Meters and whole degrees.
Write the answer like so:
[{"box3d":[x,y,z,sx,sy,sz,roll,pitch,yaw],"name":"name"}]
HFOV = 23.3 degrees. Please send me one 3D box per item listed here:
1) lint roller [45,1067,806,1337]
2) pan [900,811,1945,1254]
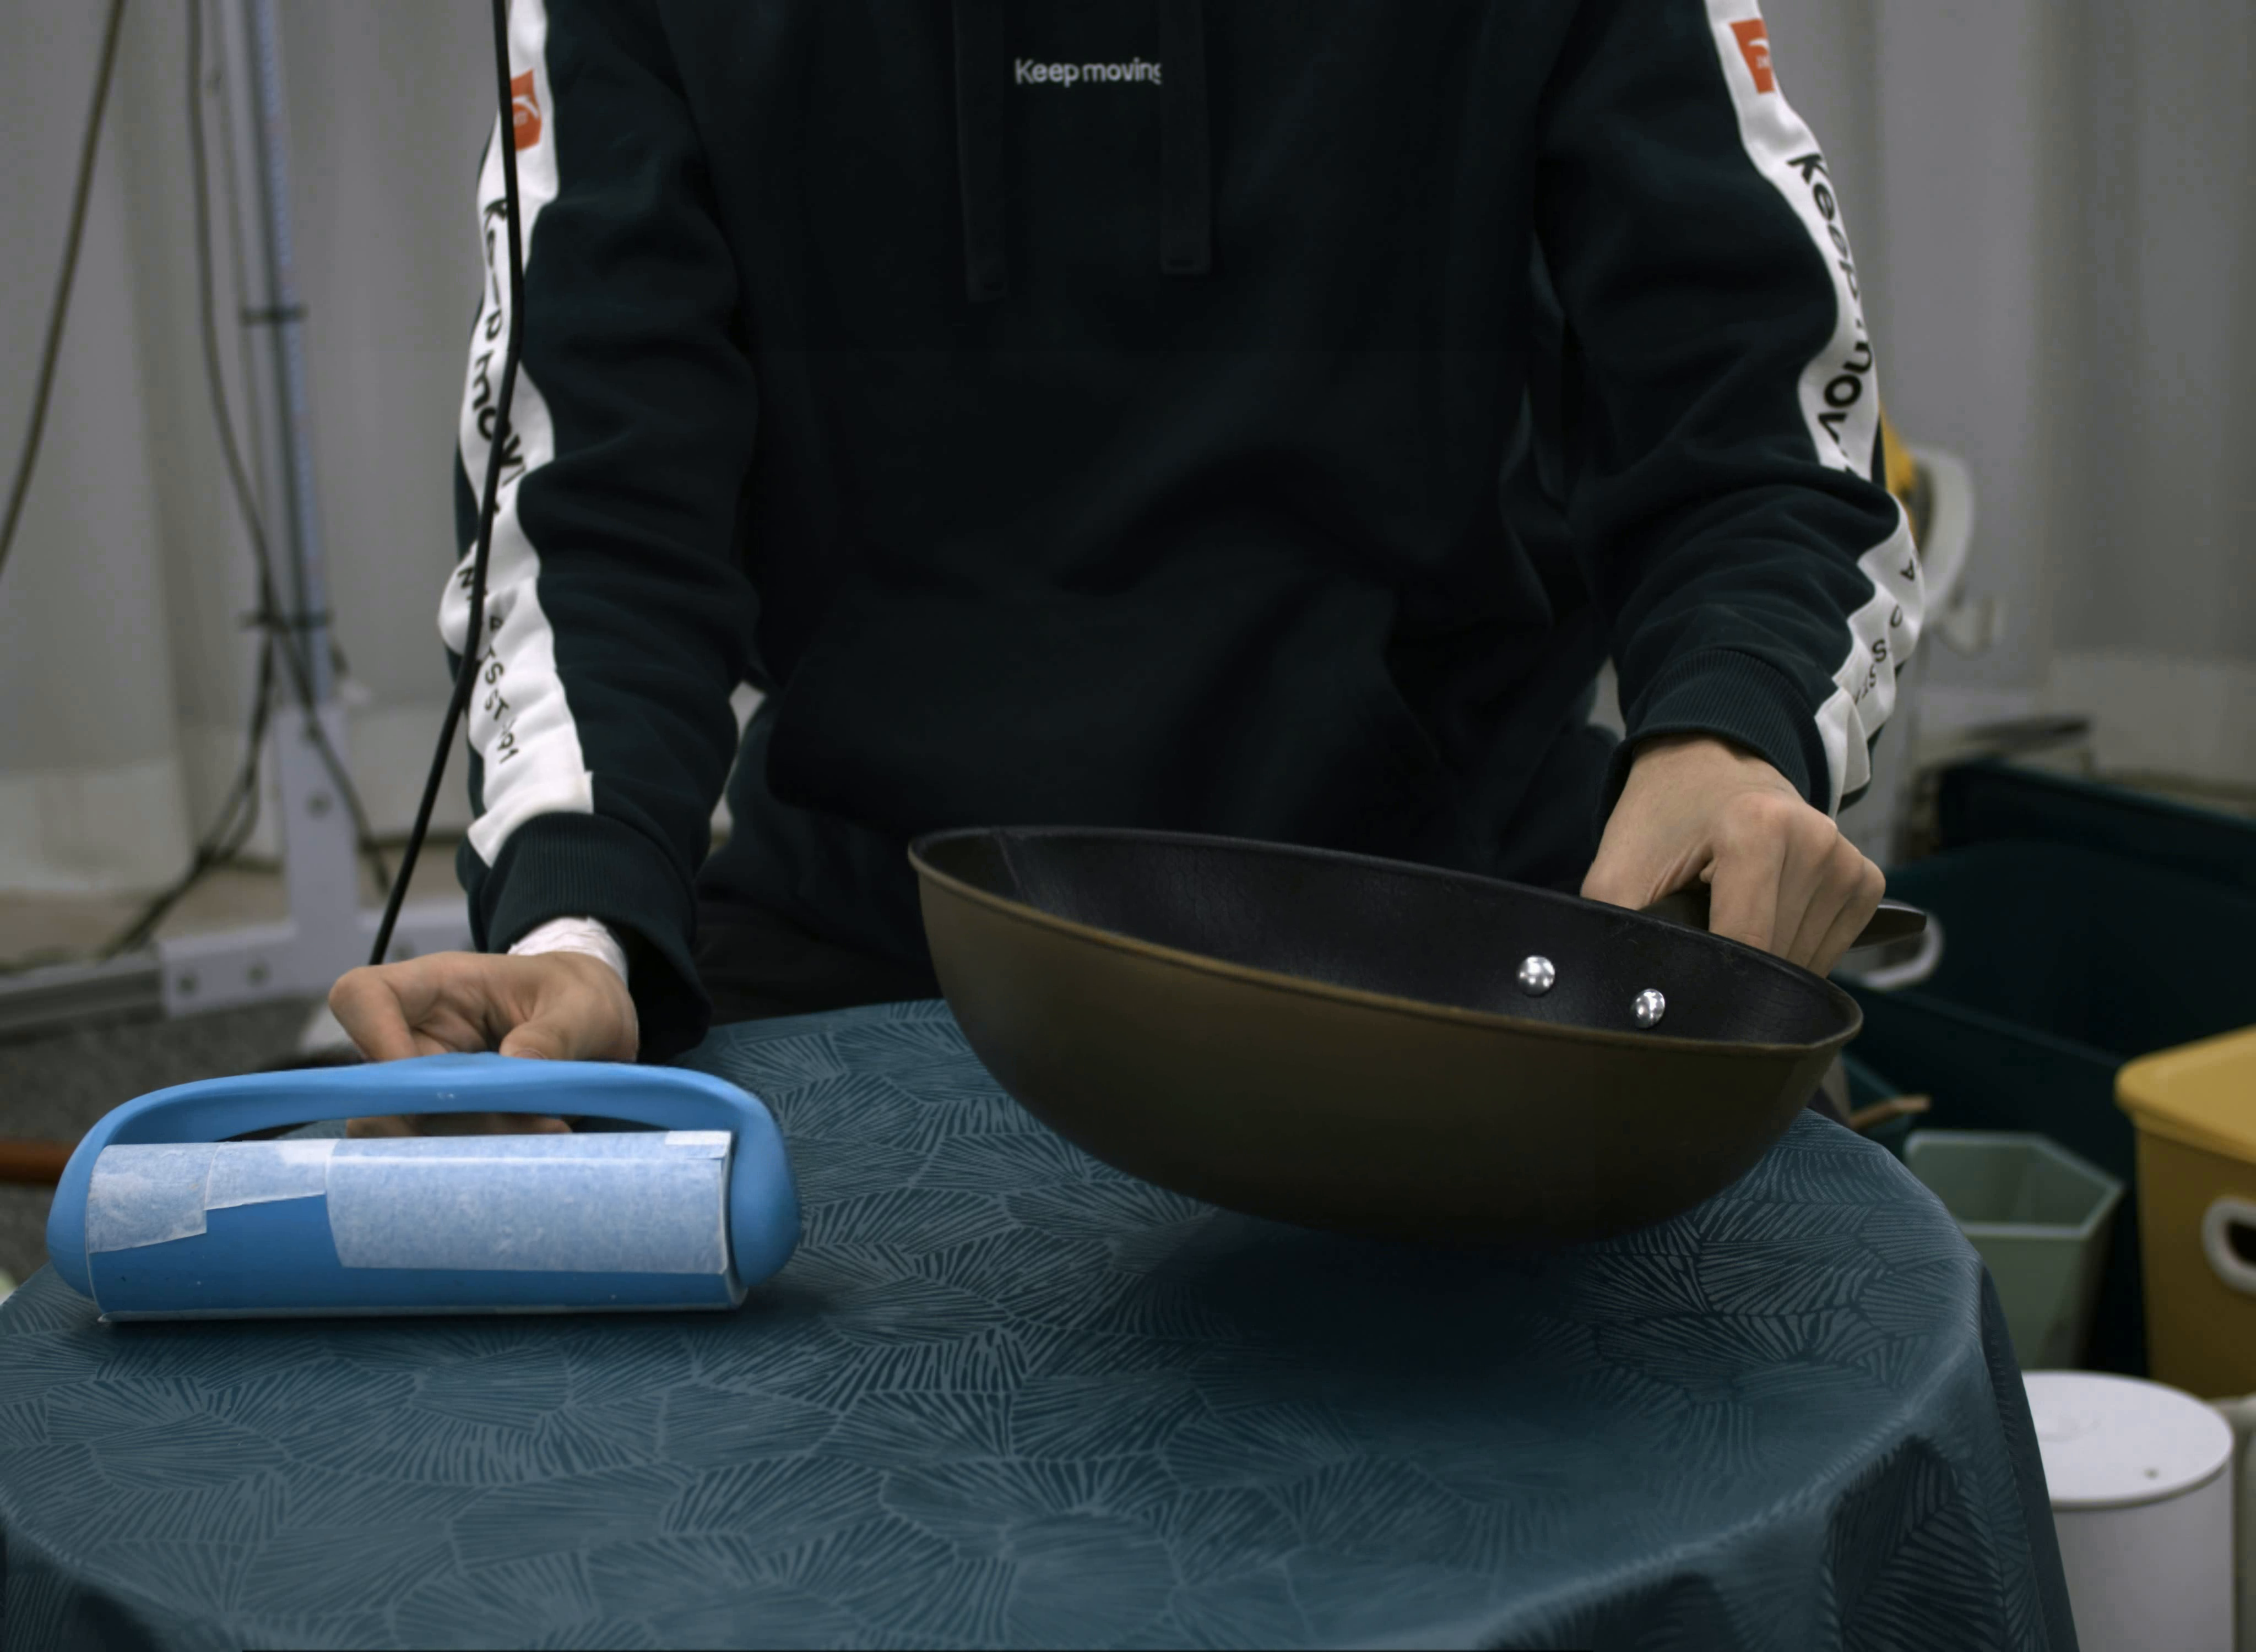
[{"box3d":[-0.208,0.105,1.687,0.228,0.067,0.181,-4,15,3],"name":"lint roller"},{"box3d":[0.118,0.065,1.667,0.290,0.087,0.460,16,9,35],"name":"pan"}]
